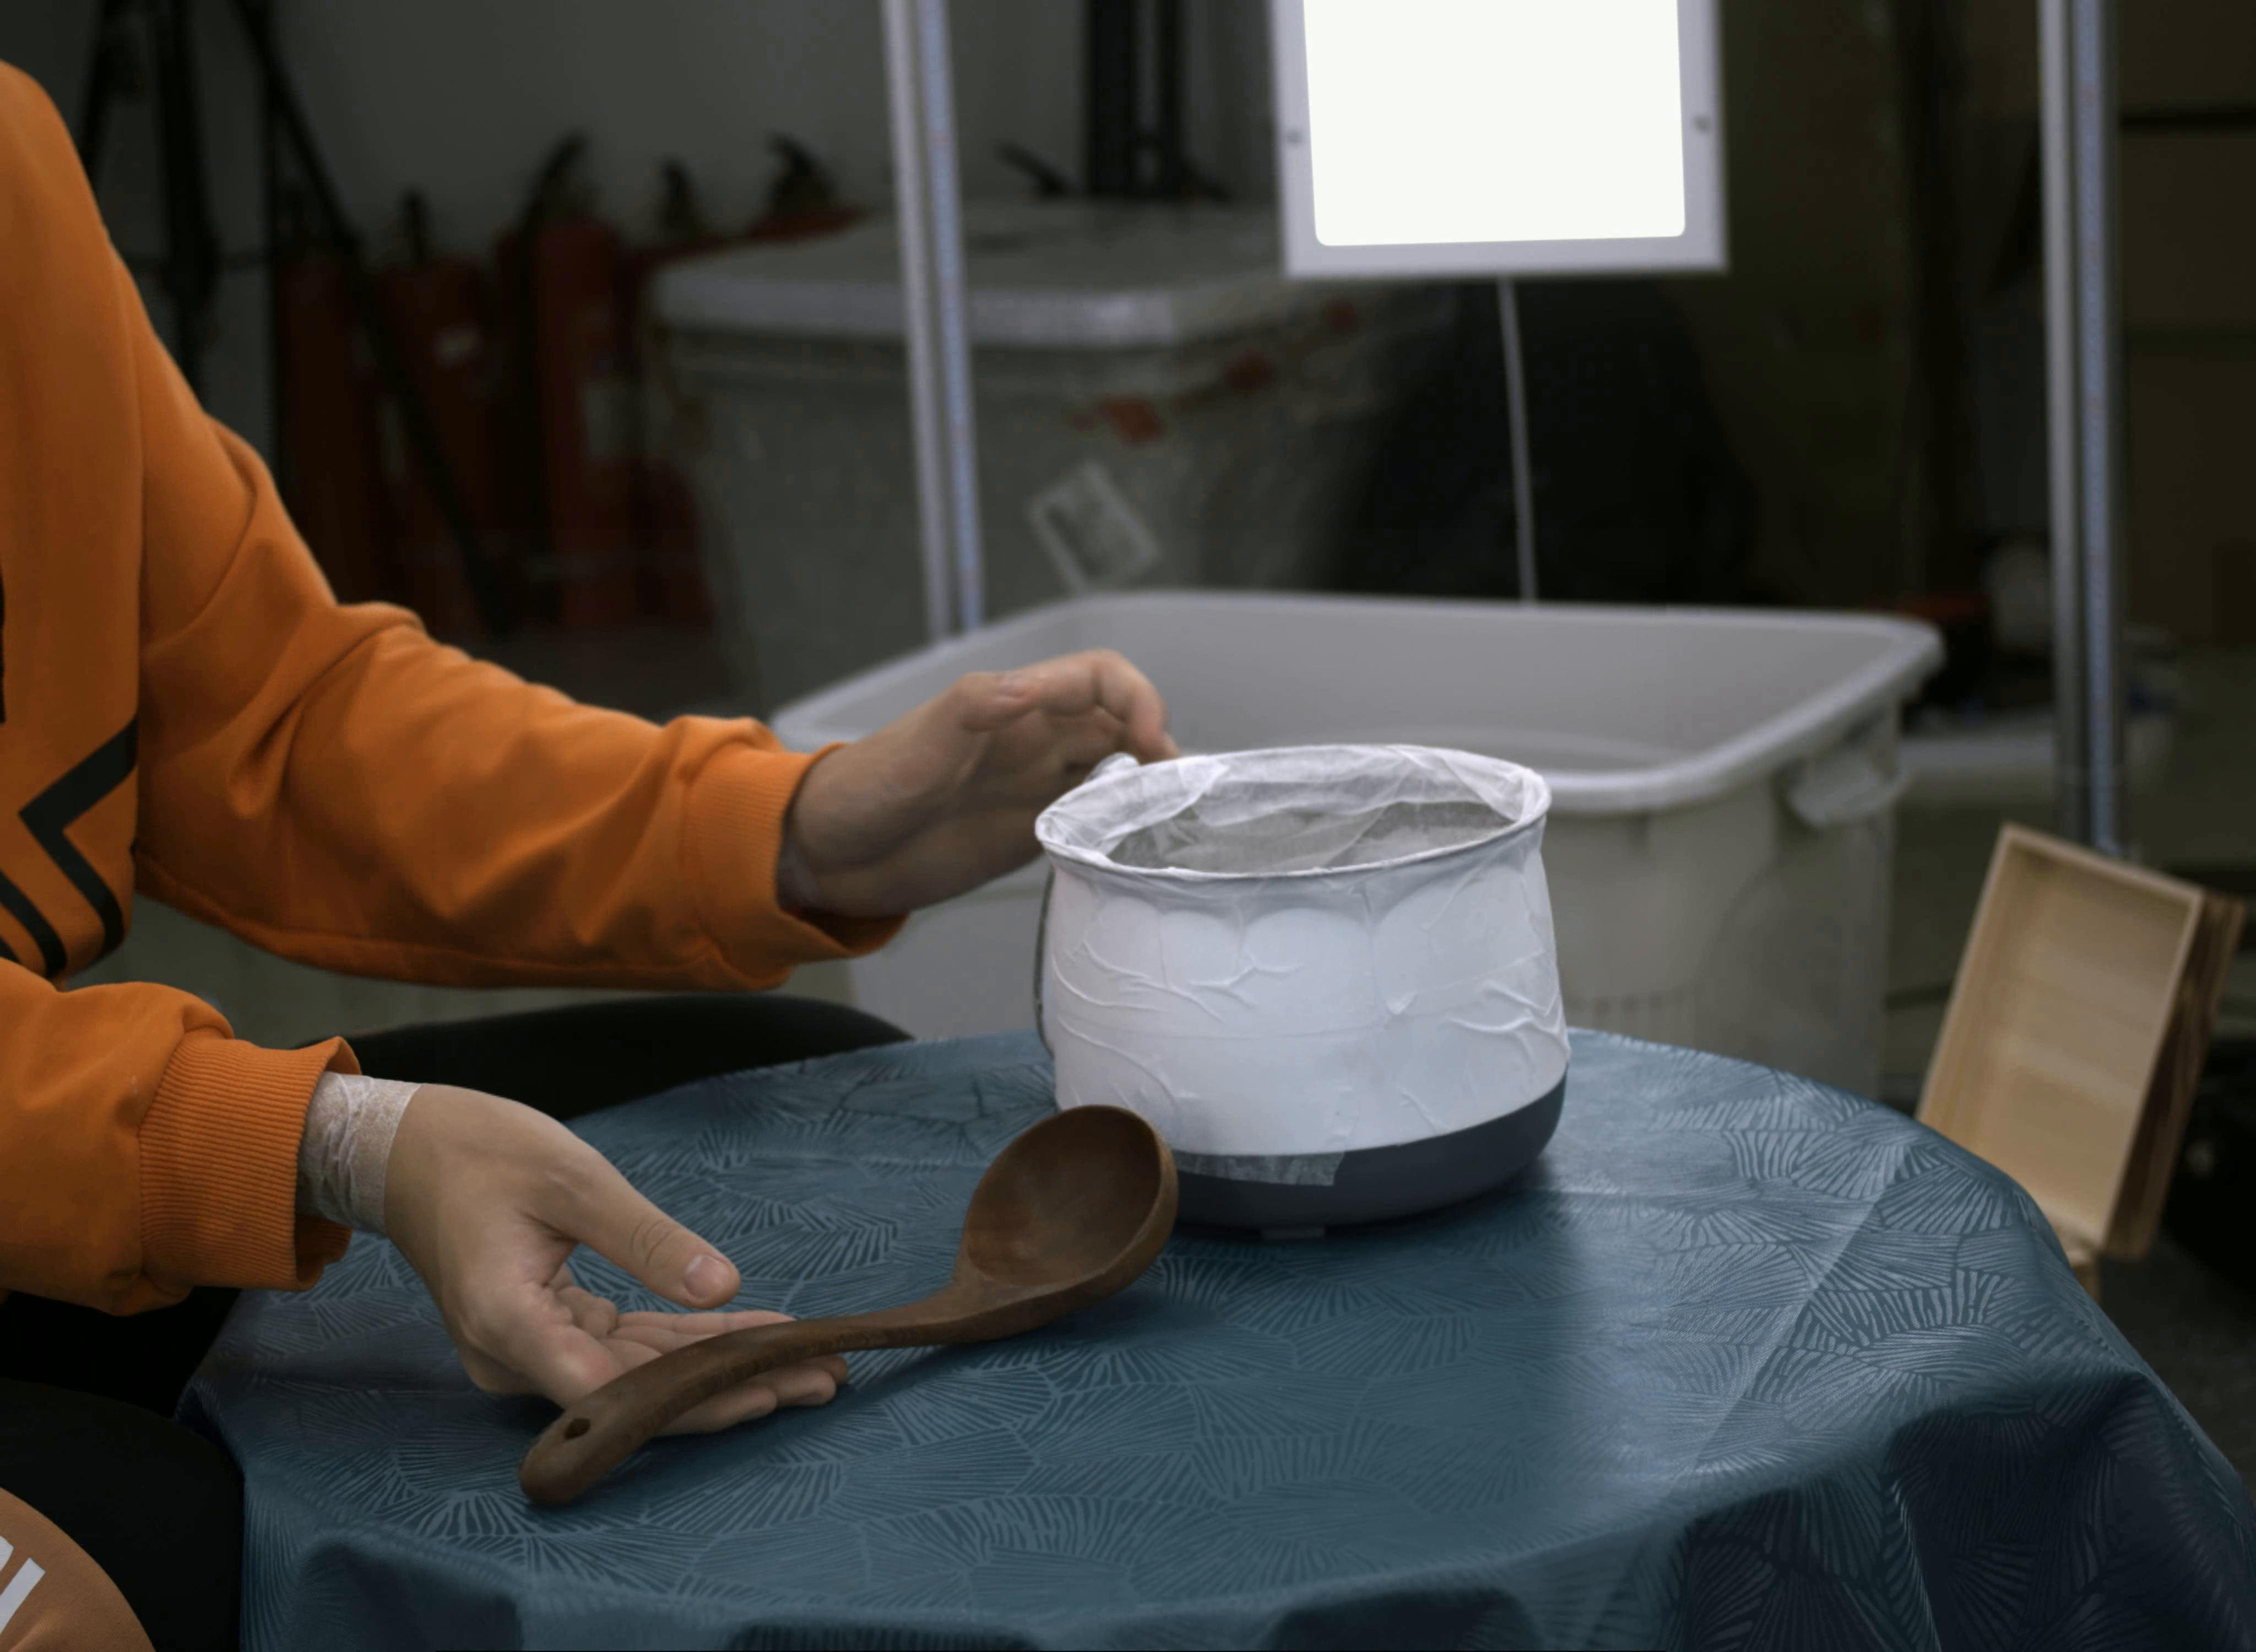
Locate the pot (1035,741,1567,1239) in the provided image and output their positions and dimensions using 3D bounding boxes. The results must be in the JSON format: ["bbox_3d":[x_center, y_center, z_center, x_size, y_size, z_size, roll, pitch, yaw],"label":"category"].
[{"bbox_3d":[0.044,0.050,1.902,0.174,0.137,0.238,-14,17,-35],"label":"pot"}]

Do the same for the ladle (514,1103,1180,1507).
[{"bbox_3d":[-0.088,0.146,1.715,0.253,0.065,0.078,-16,17,-39],"label":"ladle"}]
